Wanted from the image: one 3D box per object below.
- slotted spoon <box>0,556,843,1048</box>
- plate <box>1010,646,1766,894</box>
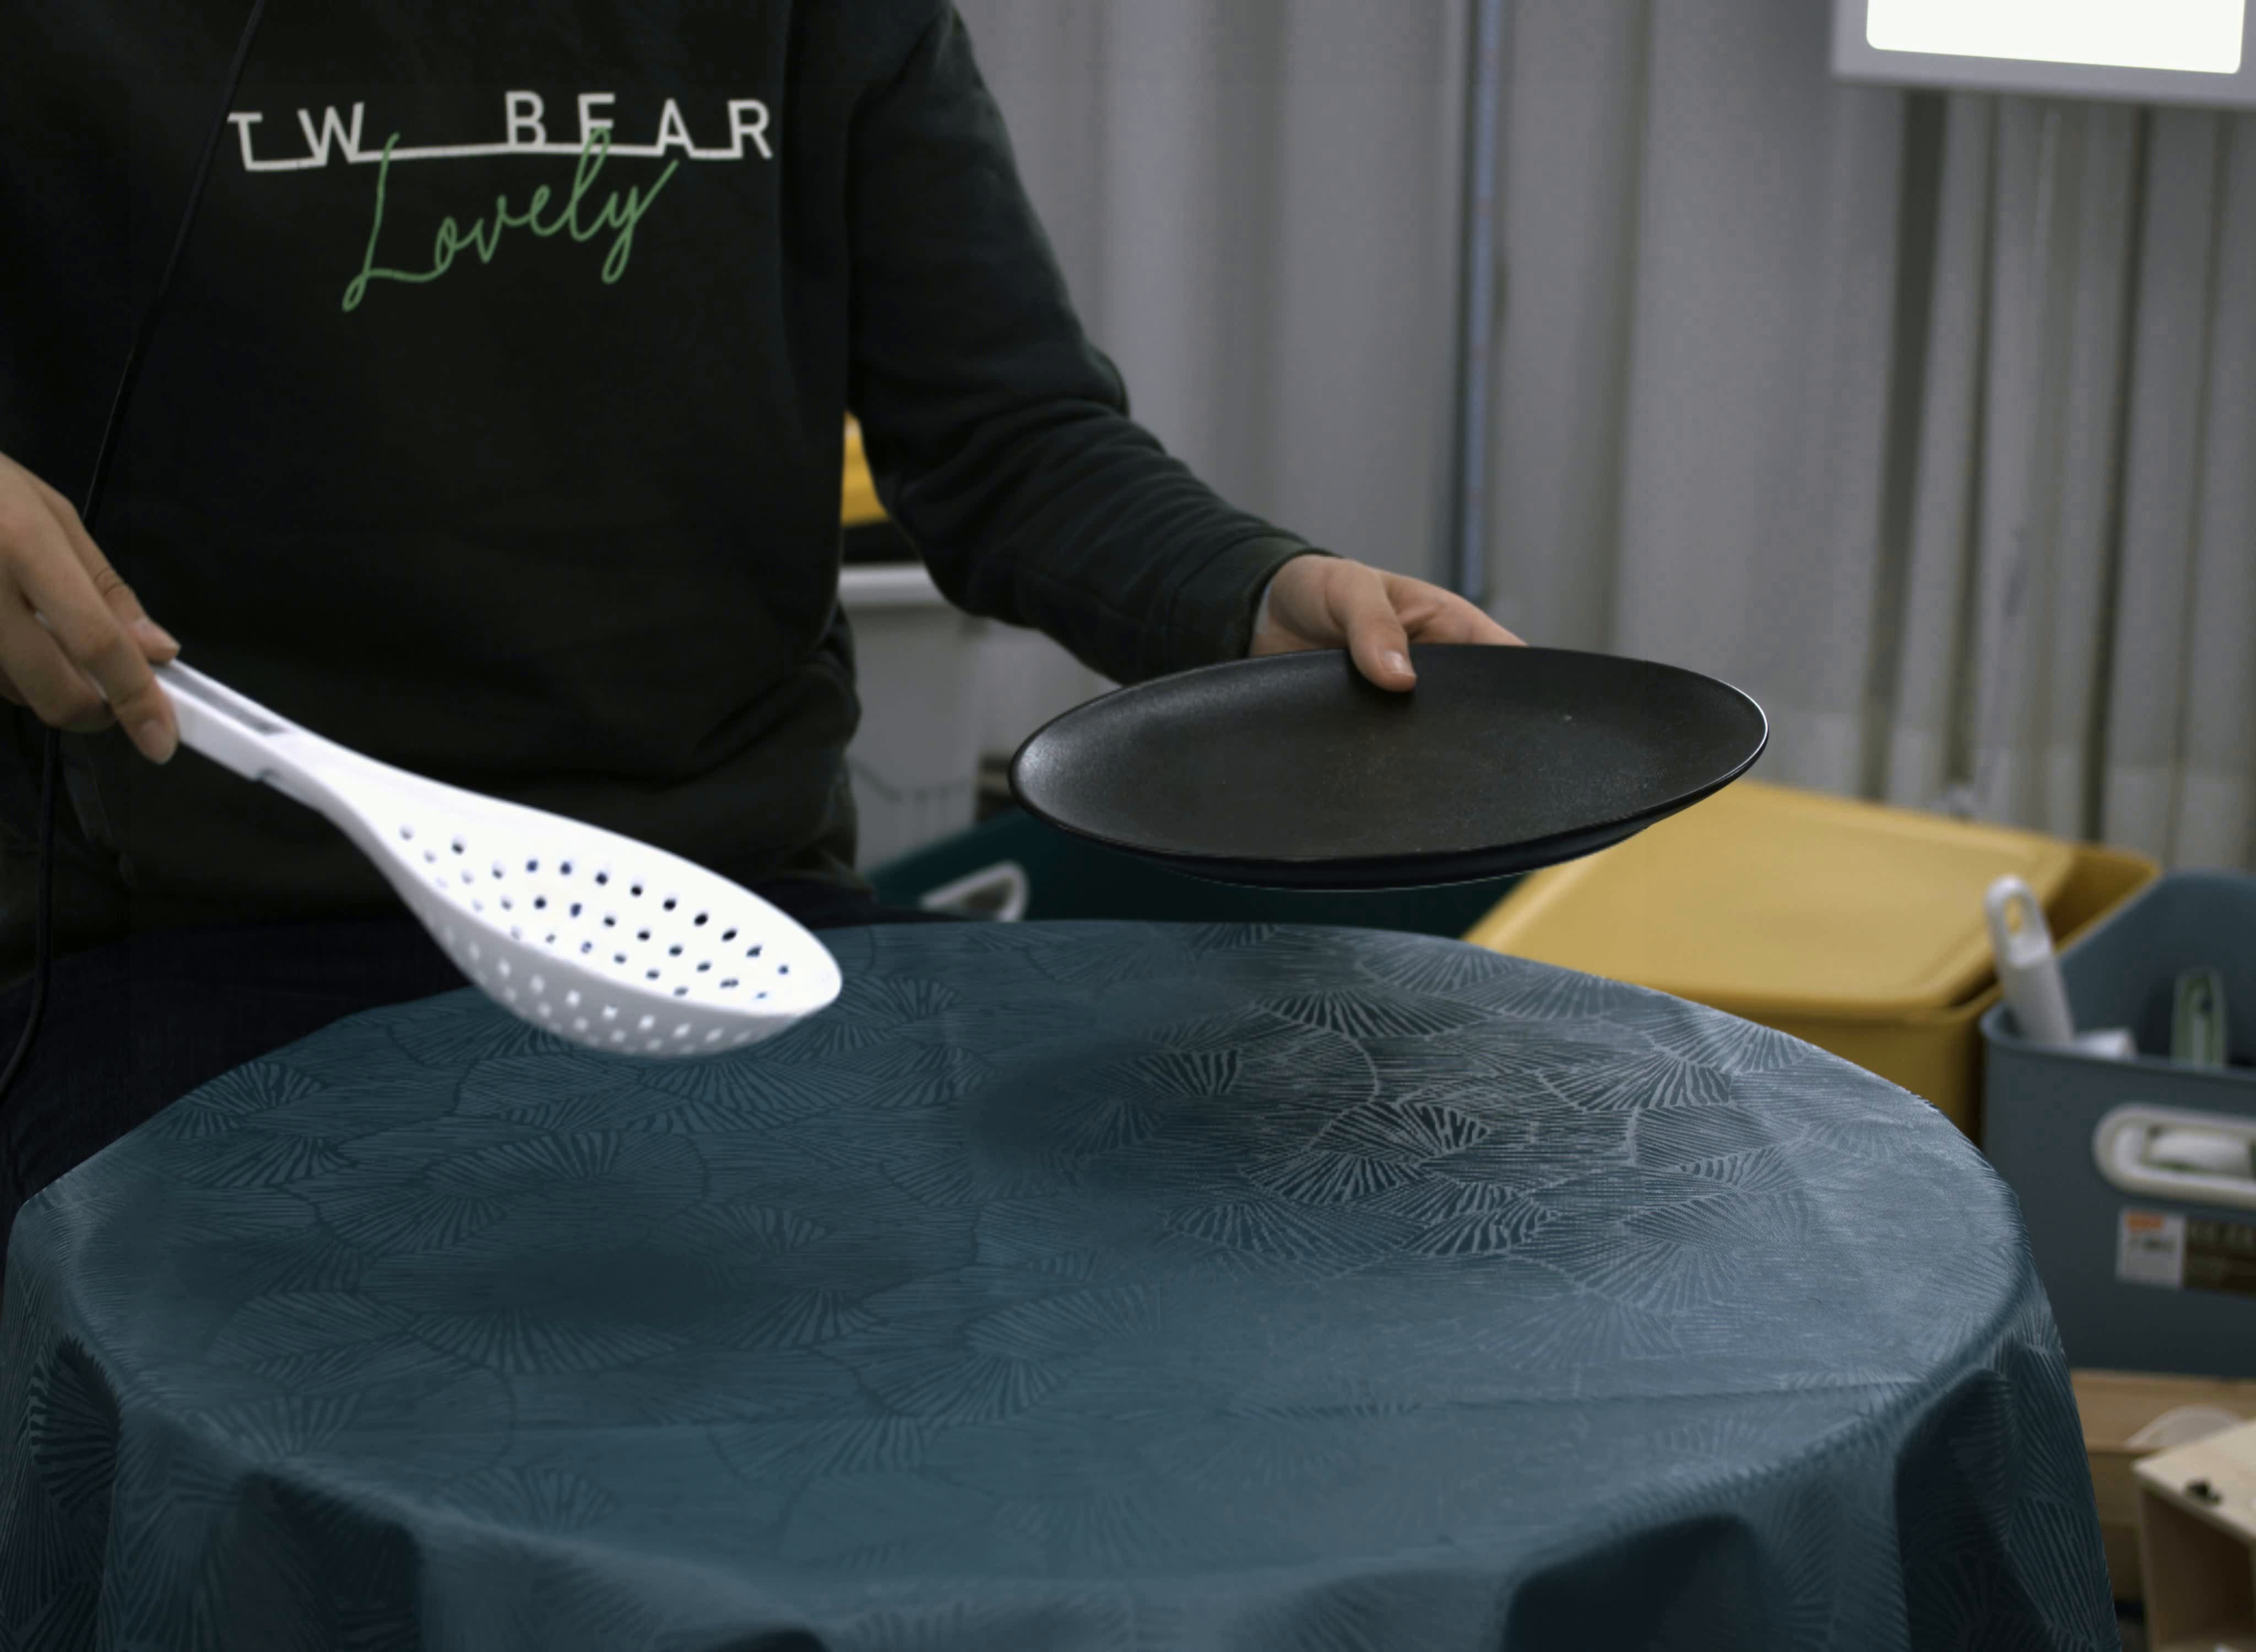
[{"bbox_3d":[-0.239,-0.019,1.555,0.346,0.046,0.136,32,15,17],"label":"slotted spoon"},{"bbox_3d":[0.084,-0.017,1.691,0.243,0.023,0.243,-3,17,2],"label":"plate"}]
